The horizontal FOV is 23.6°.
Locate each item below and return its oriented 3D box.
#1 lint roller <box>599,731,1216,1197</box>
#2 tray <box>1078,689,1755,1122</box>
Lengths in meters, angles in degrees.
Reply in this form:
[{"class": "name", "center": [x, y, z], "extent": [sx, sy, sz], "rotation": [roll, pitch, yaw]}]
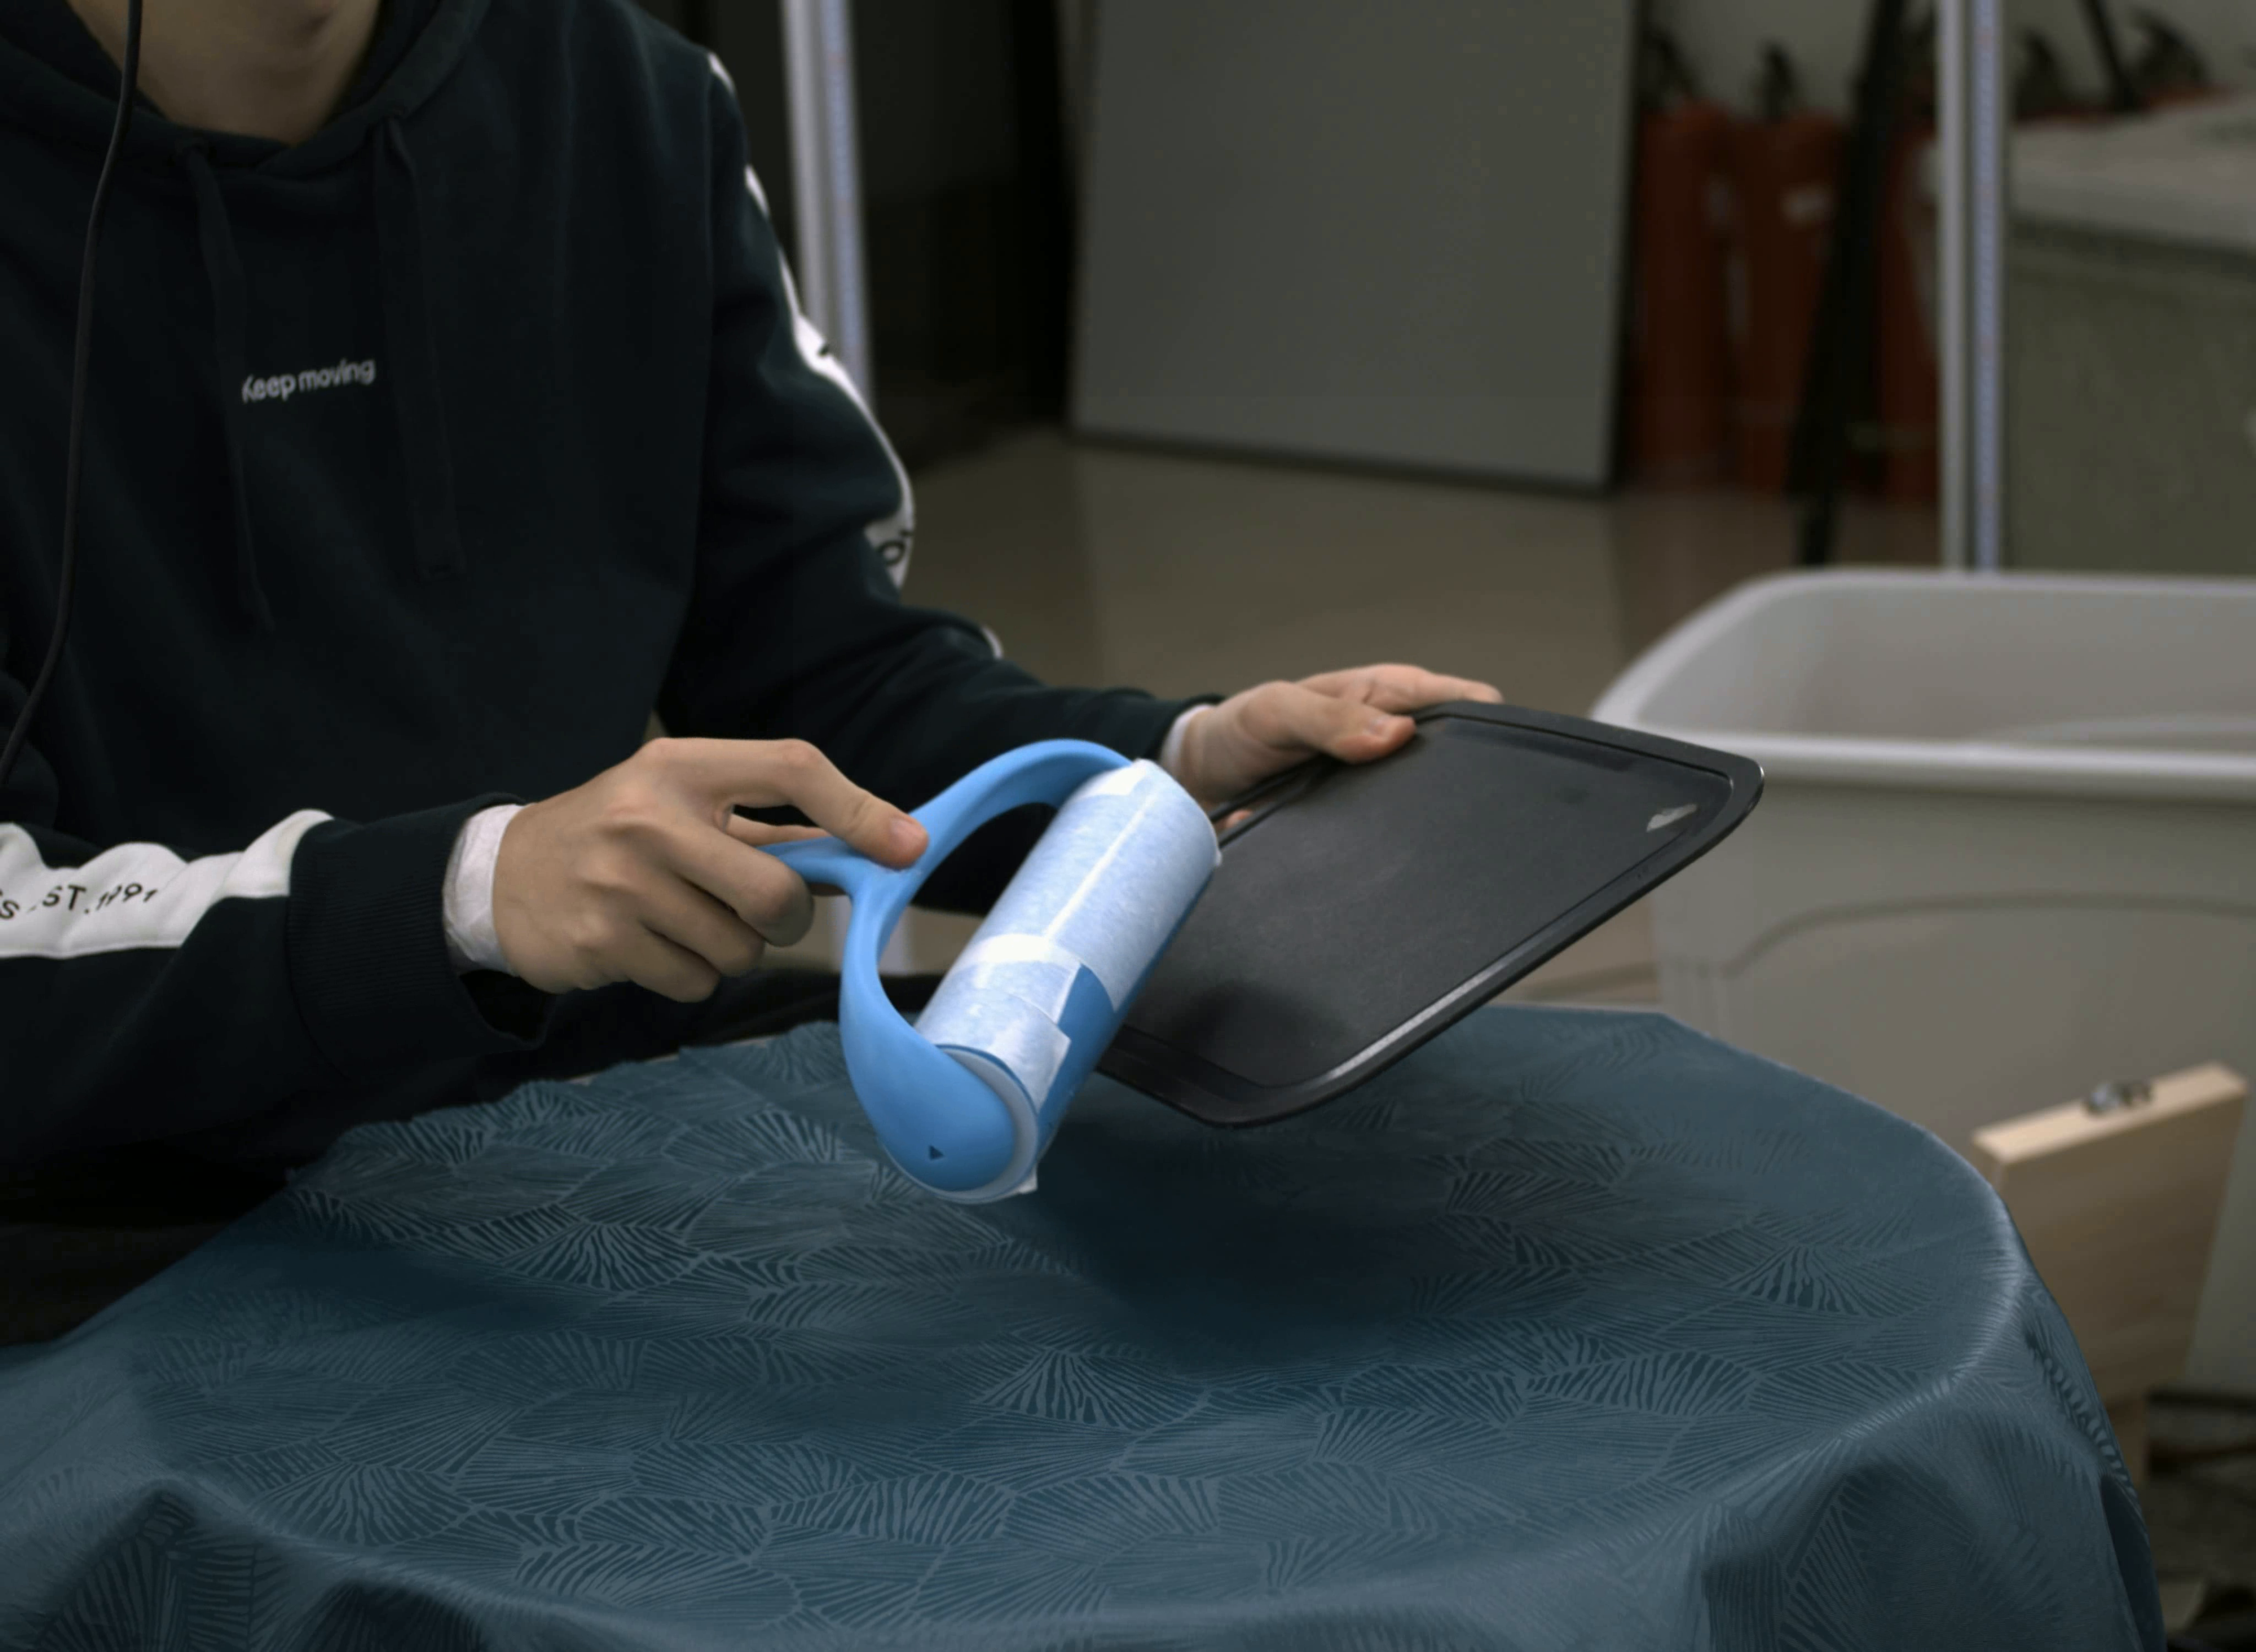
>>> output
[{"class": "lint roller", "center": [-0.080, 0.033, 1.673], "extent": [0.179, 0.068, 0.228], "rotation": [9, 30, 12]}, {"class": "tray", "center": [0.065, 0.020, 1.749], "extent": [0.209, 0.010, 0.328], "rotation": [-34, 16, -13]}]
